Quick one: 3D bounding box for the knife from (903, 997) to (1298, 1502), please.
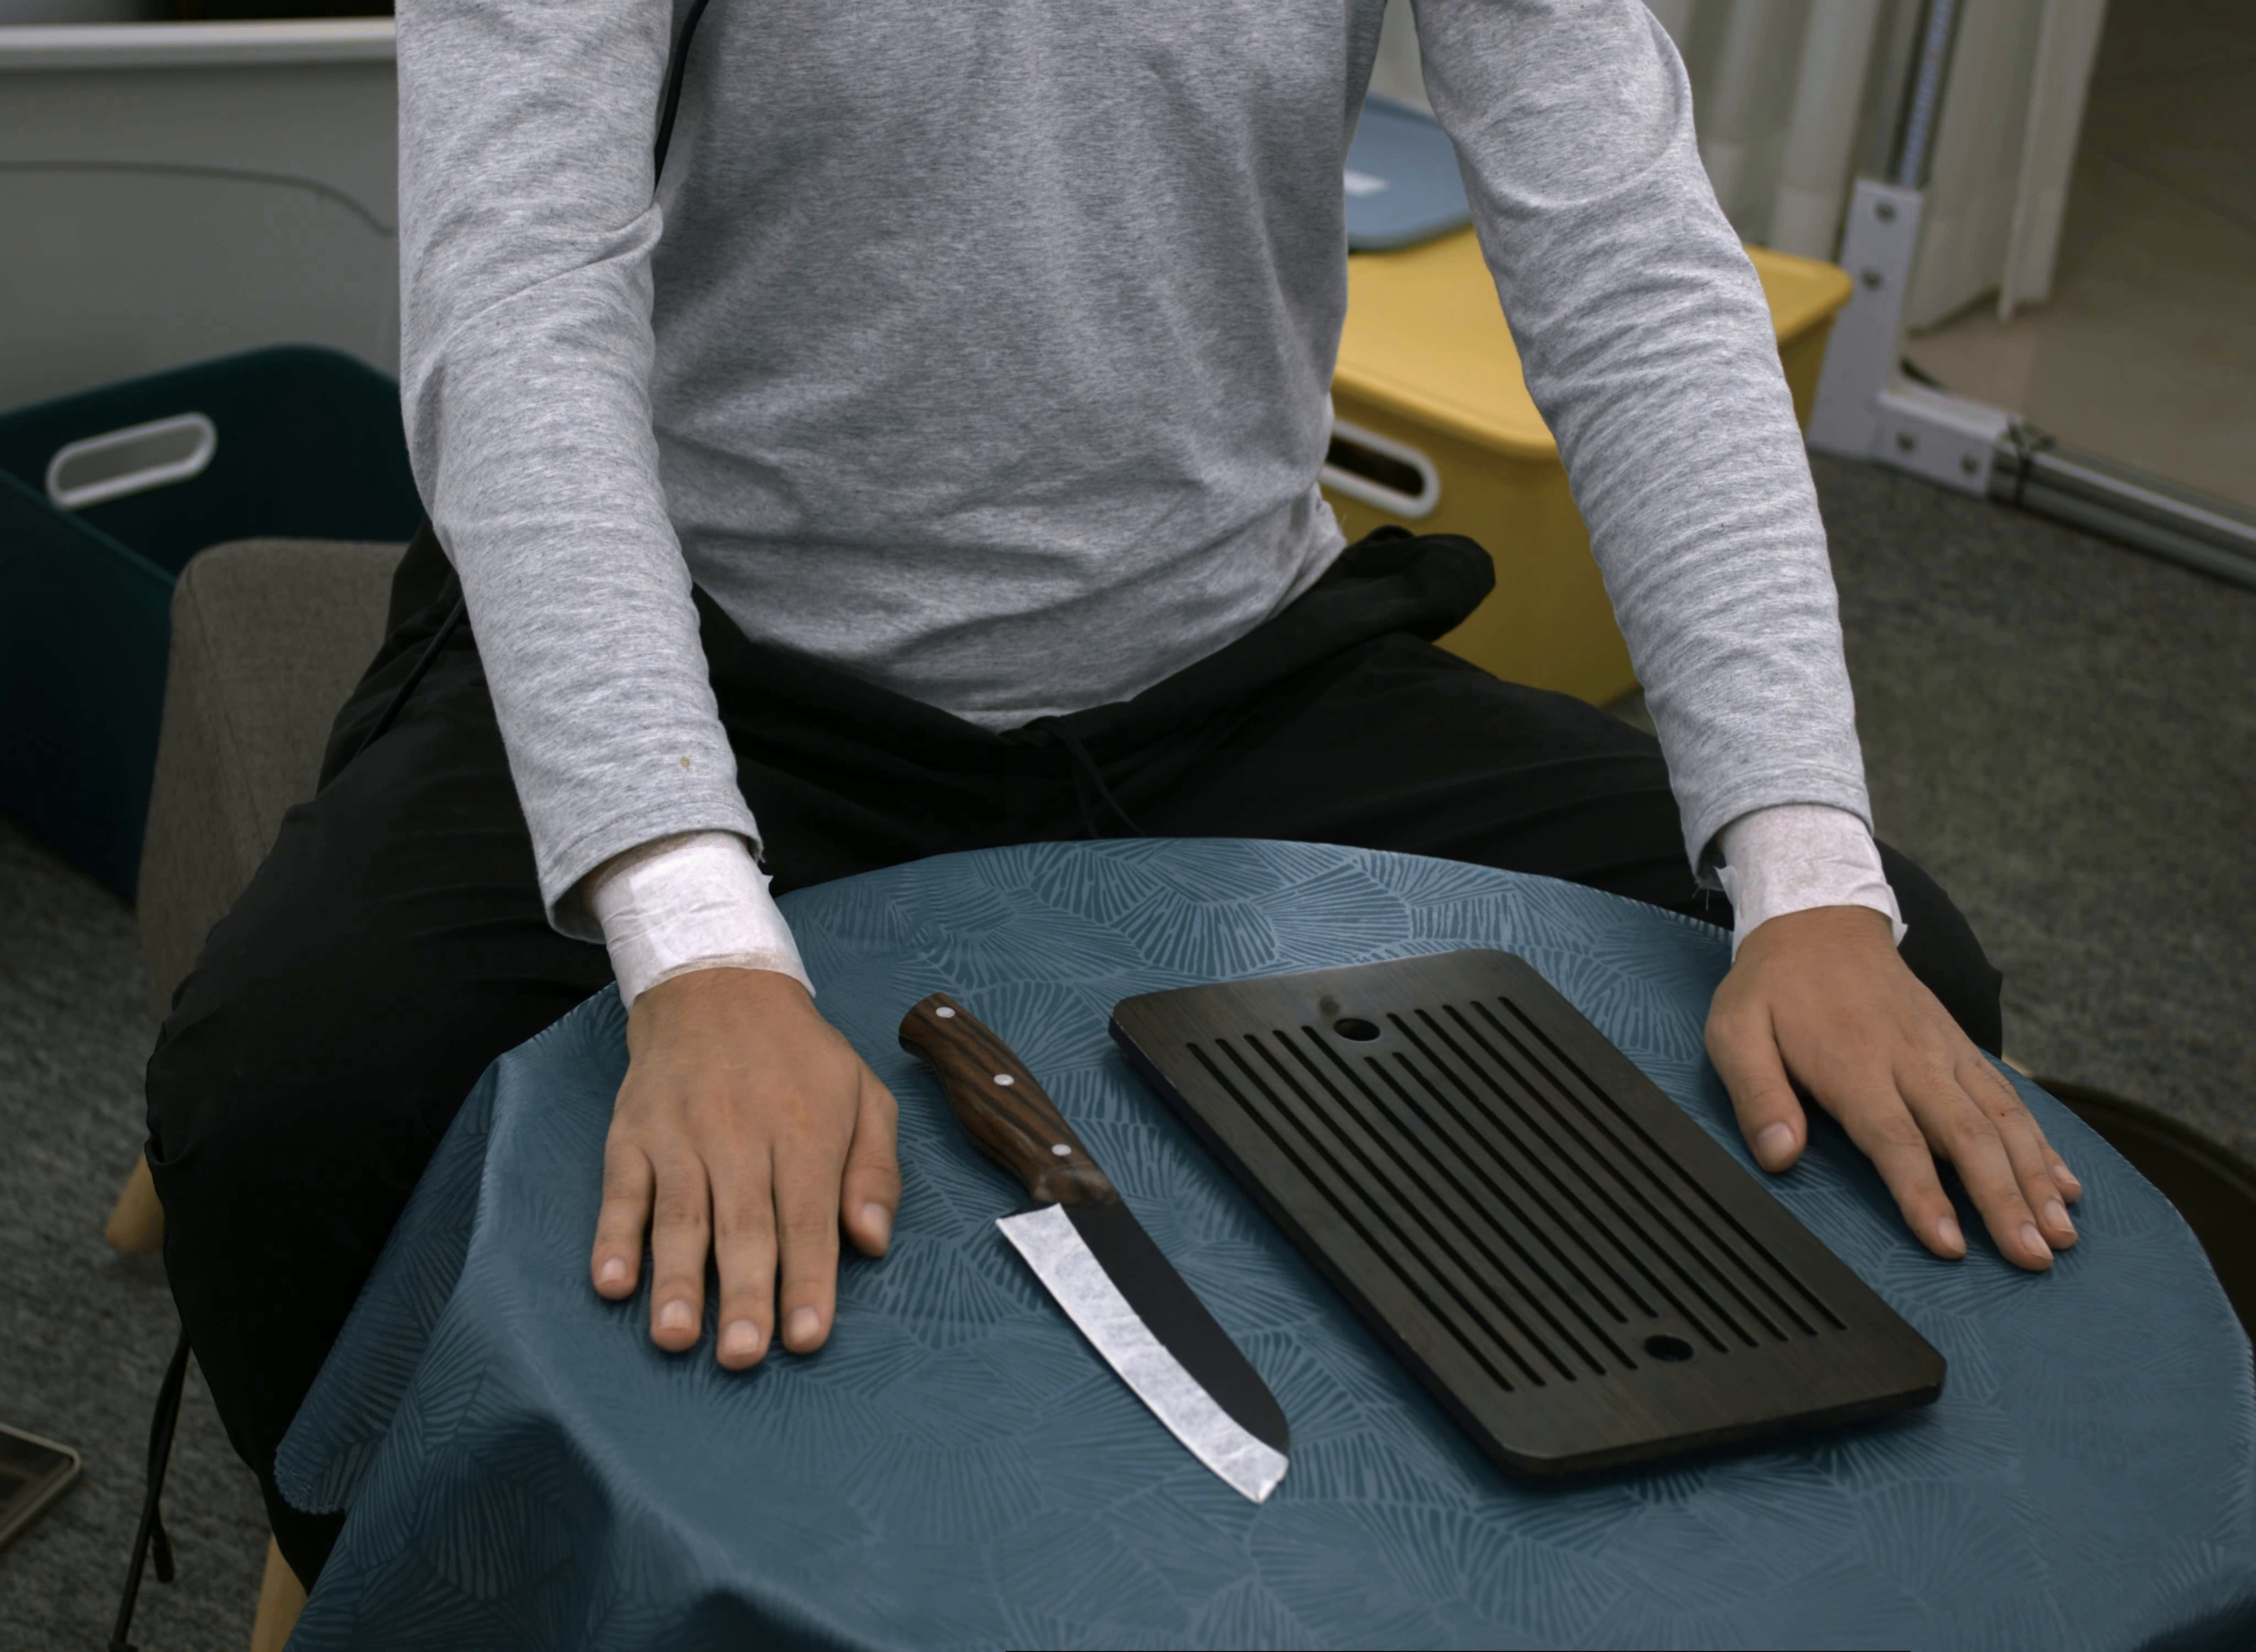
[{"bbox_3d":[-0.013,0.138,1.759,0.050,0.020,0.292,-10,33,-21],"label":"knife"}]

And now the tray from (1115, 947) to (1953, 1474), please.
[{"bbox_3d":[0.131,0.127,1.810,0.169,0.018,0.309,-7,29,-25],"label":"tray"}]
